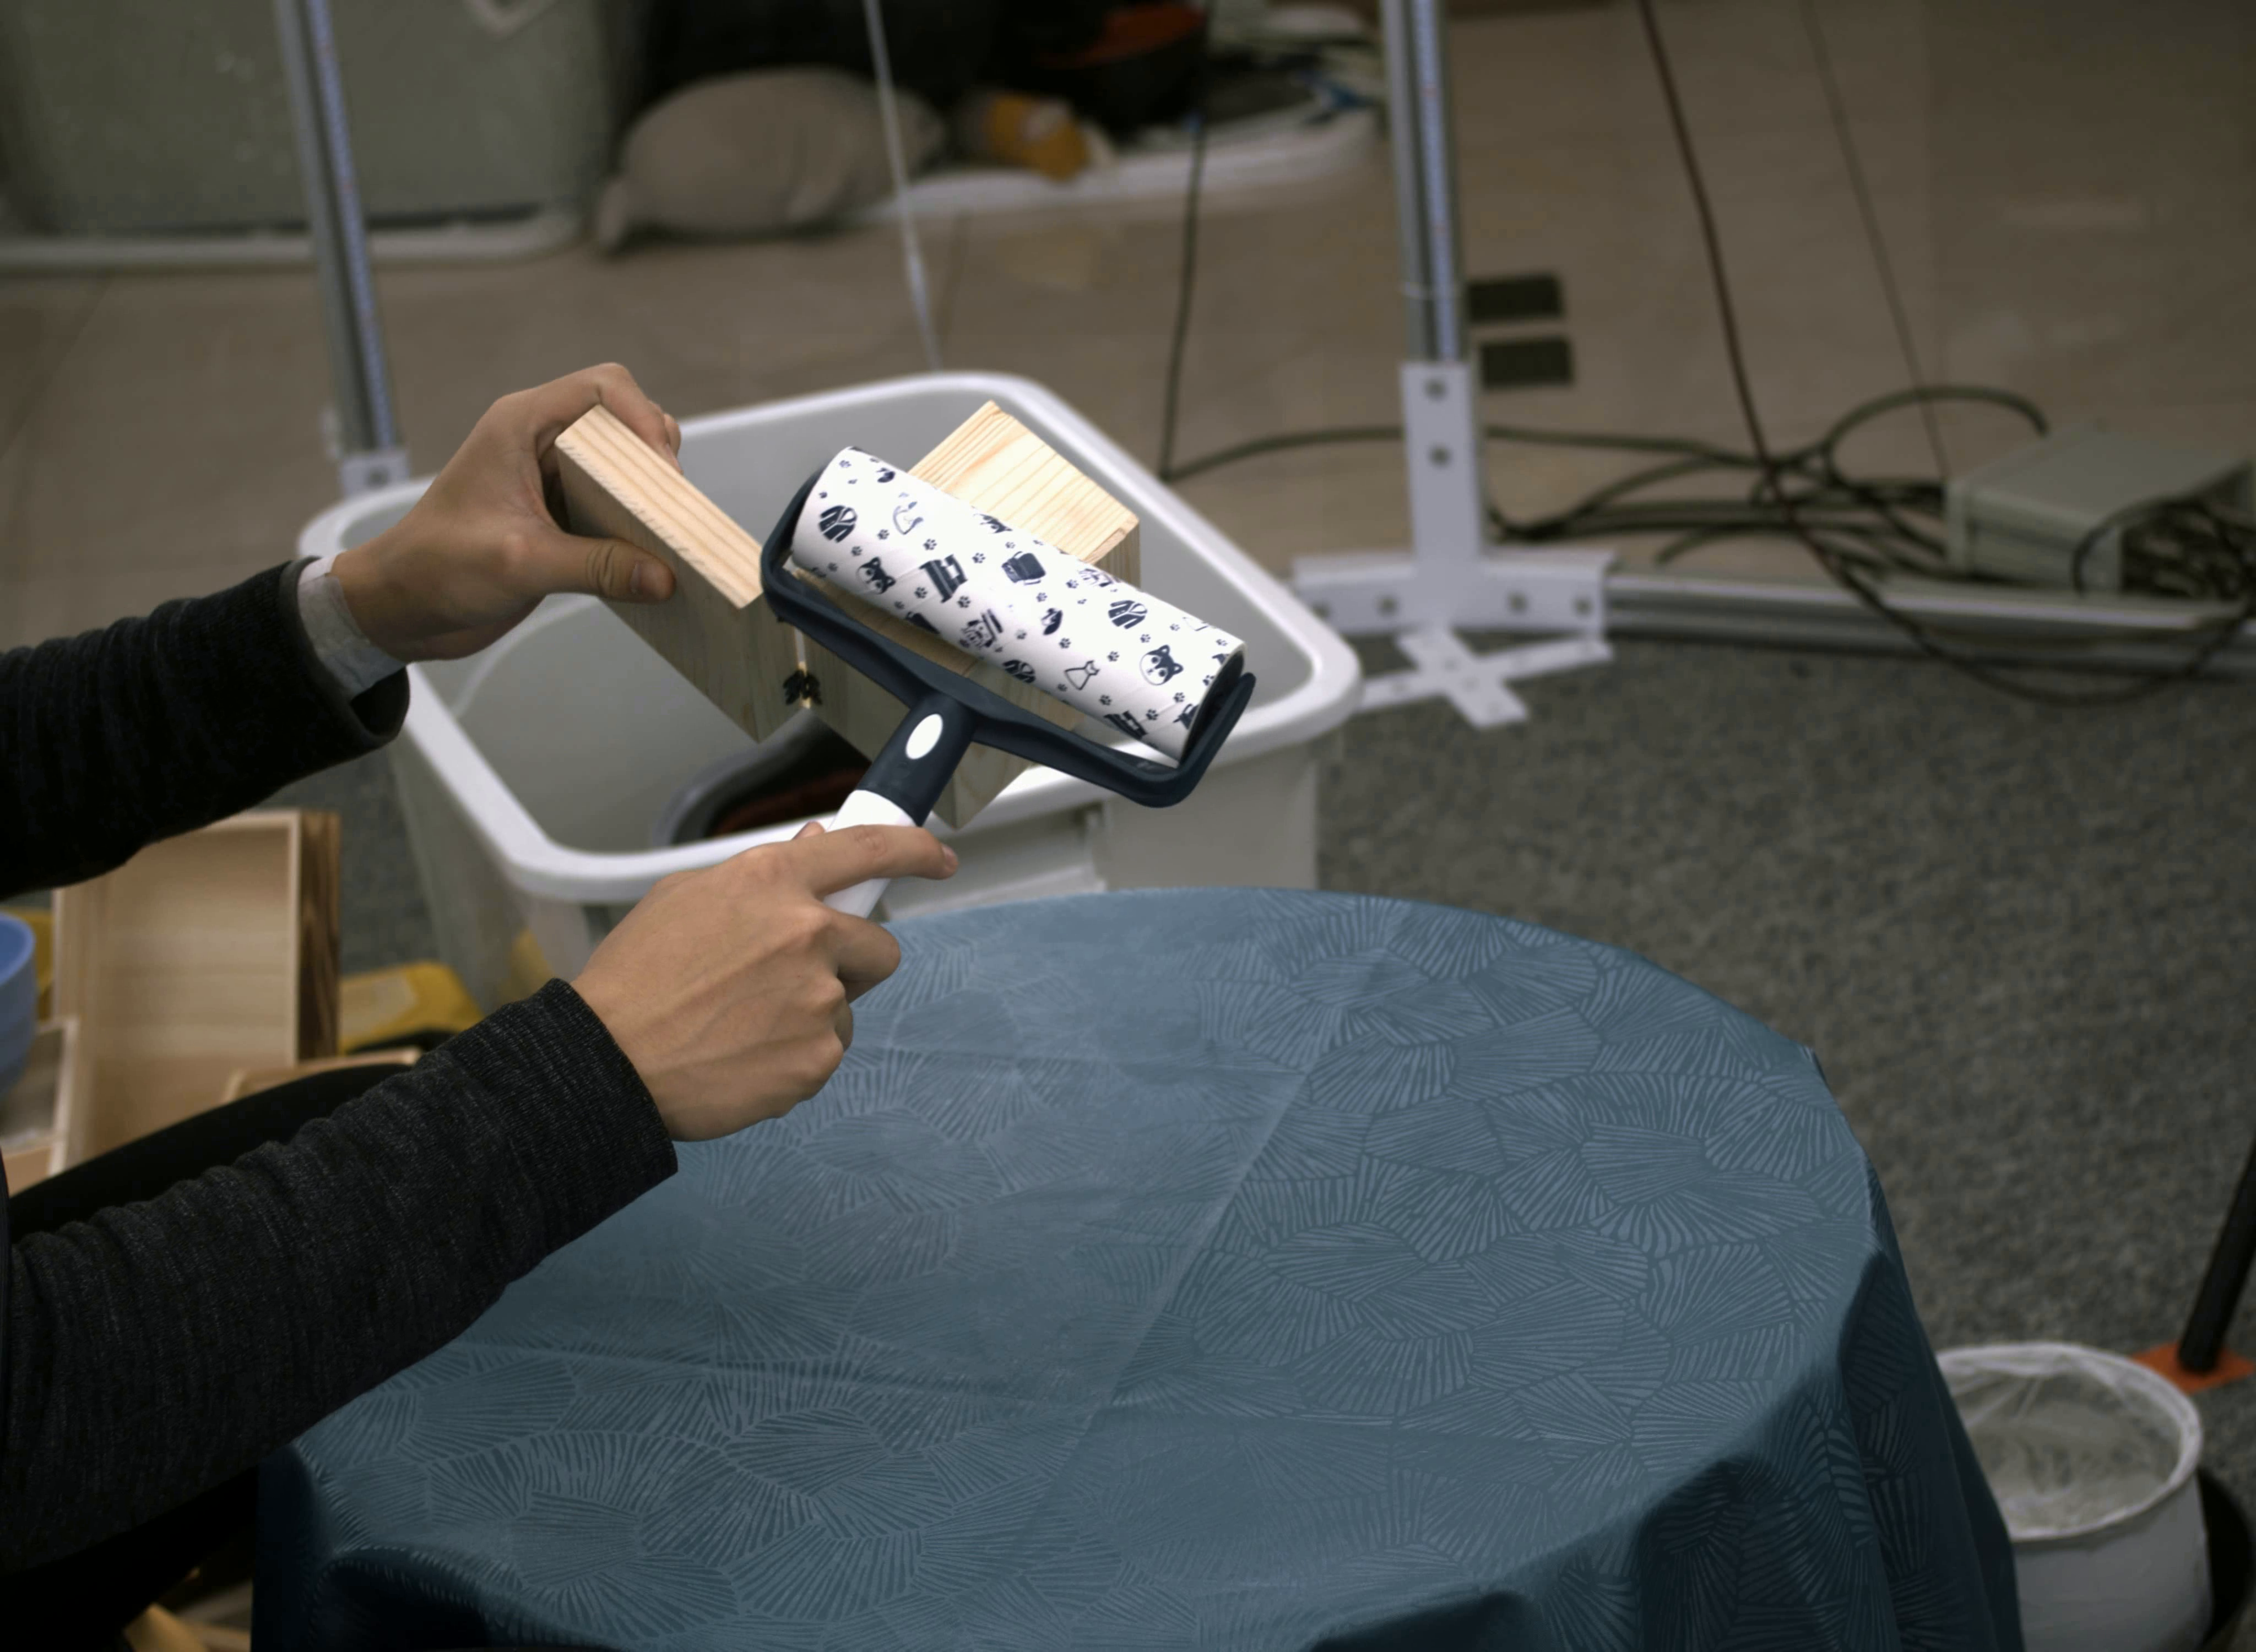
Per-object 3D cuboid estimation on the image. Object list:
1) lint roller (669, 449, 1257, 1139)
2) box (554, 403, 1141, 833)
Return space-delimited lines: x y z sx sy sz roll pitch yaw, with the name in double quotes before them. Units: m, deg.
"lint roller" -0.087 0.001 1.956 0.175 0.051 0.244 28 69 10
"box" -0.101 -0.101 2.086 0.183 0.104 0.133 39 68 20
